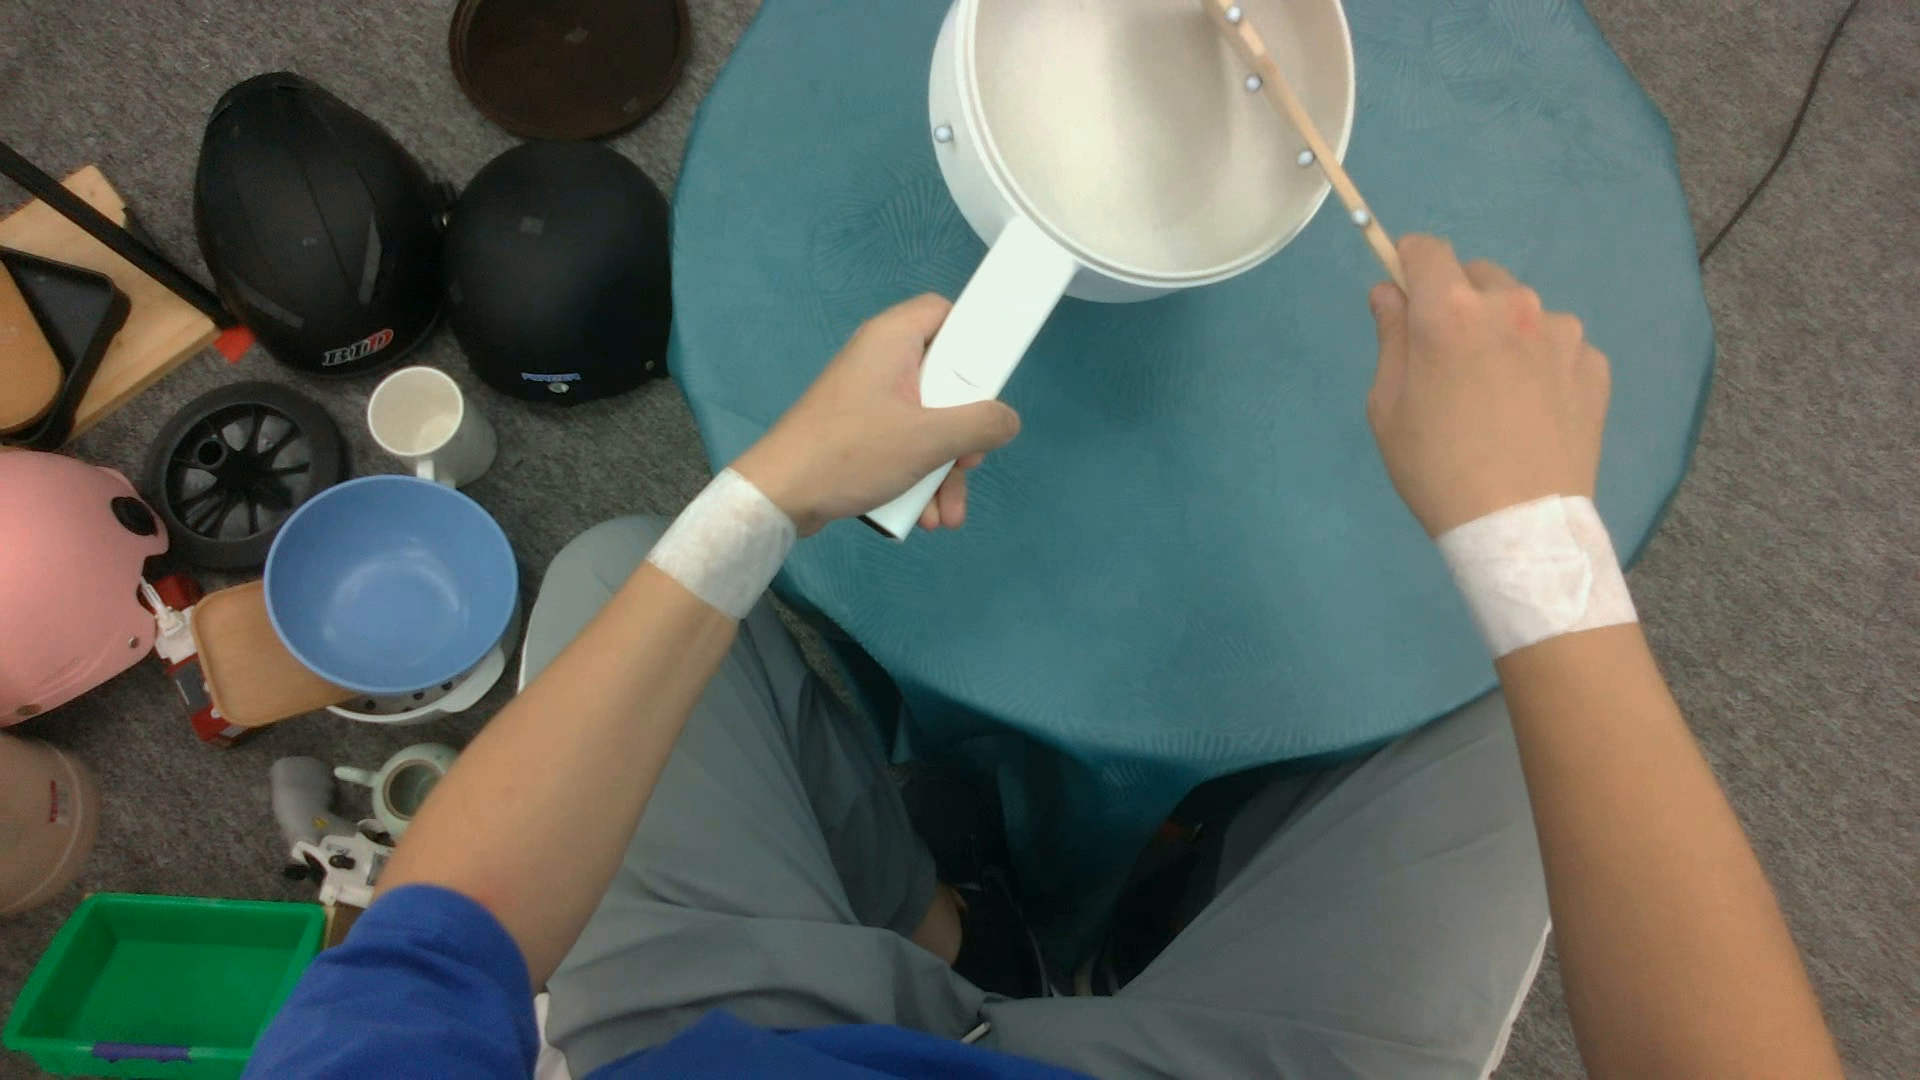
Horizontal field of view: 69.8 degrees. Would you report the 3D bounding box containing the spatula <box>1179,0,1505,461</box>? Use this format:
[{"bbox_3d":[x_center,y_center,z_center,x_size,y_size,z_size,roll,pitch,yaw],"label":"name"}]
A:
[{"bbox_3d":[0.173,-0.157,0.642,0.010,0.072,0.293,-31,66,13],"label":"spatula"}]

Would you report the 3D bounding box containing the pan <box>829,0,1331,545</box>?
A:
[{"bbox_3d":[0.040,-0.155,0.698,0.201,0.102,0.355,34,81,-15],"label":"pan"}]
